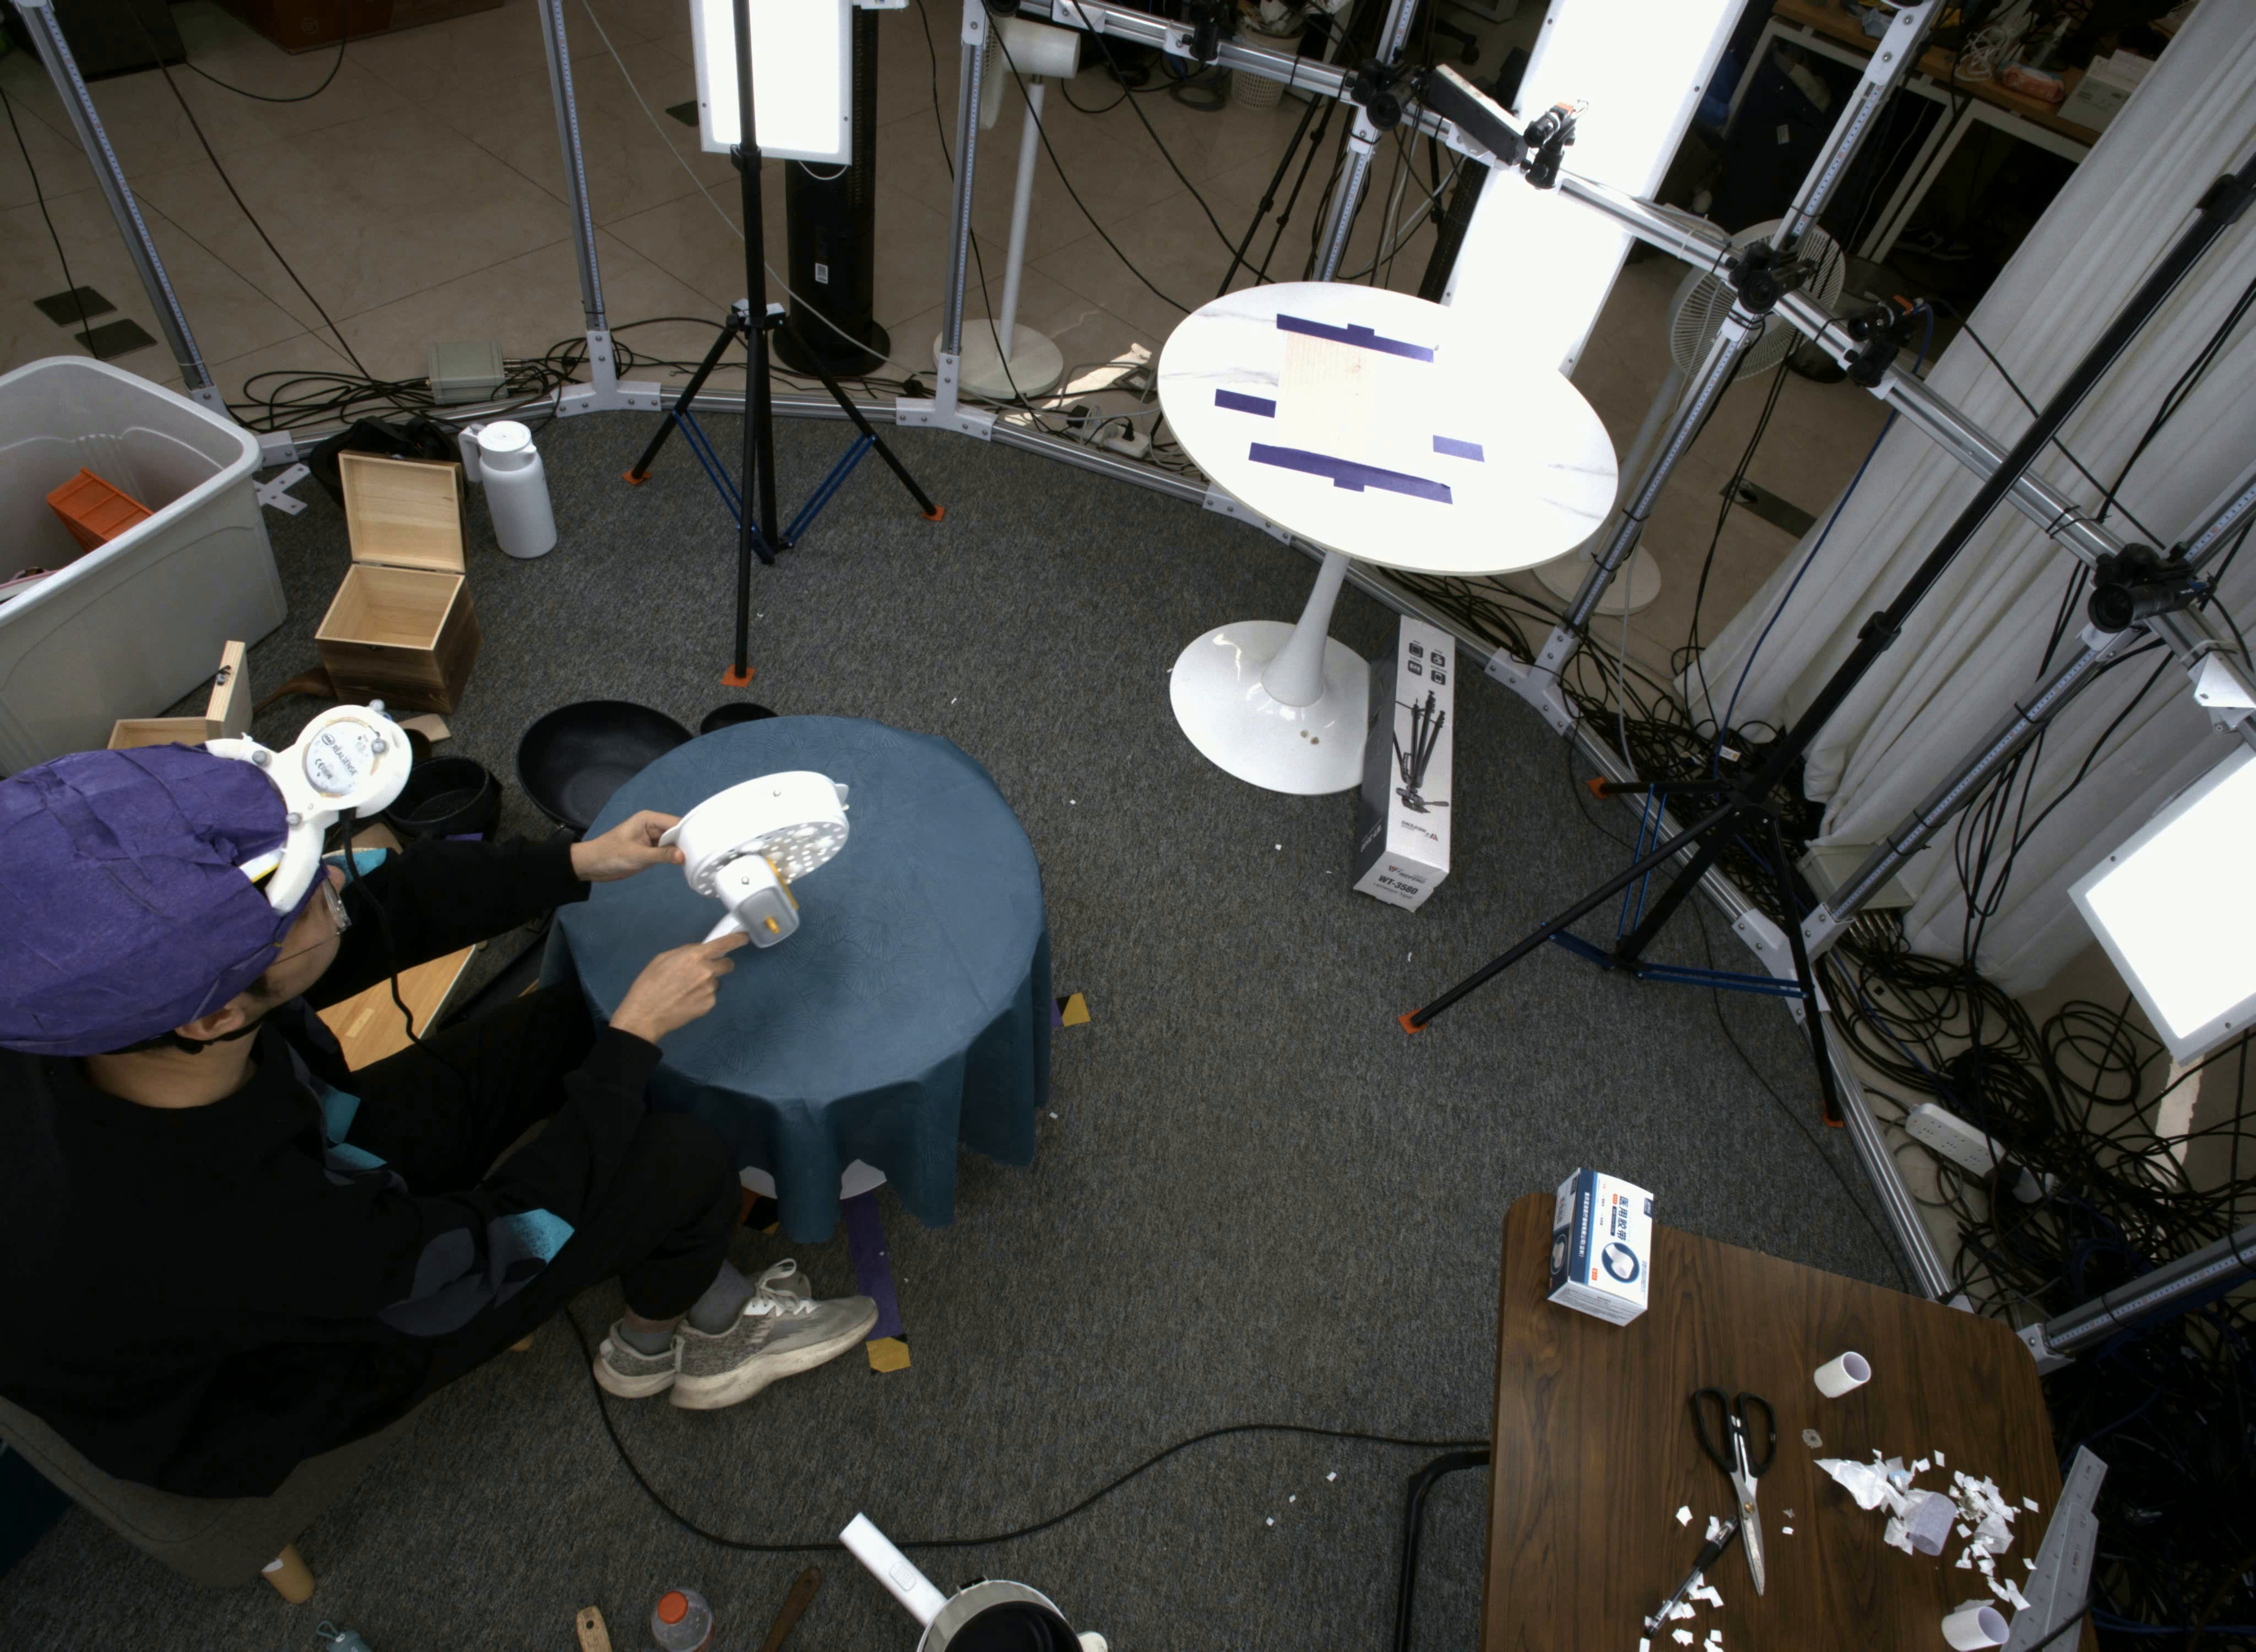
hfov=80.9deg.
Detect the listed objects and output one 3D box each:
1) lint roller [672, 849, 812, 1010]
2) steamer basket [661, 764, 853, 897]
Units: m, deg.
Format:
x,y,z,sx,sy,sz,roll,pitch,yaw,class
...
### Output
x,y,z,sx,sy,sz,roll,pitch,yaw,class
-0.452,0.123,1.474,0.192,0.195,0.073,-41,80,-13,lint roller
-0.420,0.009,1.501,0.232,0.202,0.068,-18,72,-30,steamer basket
